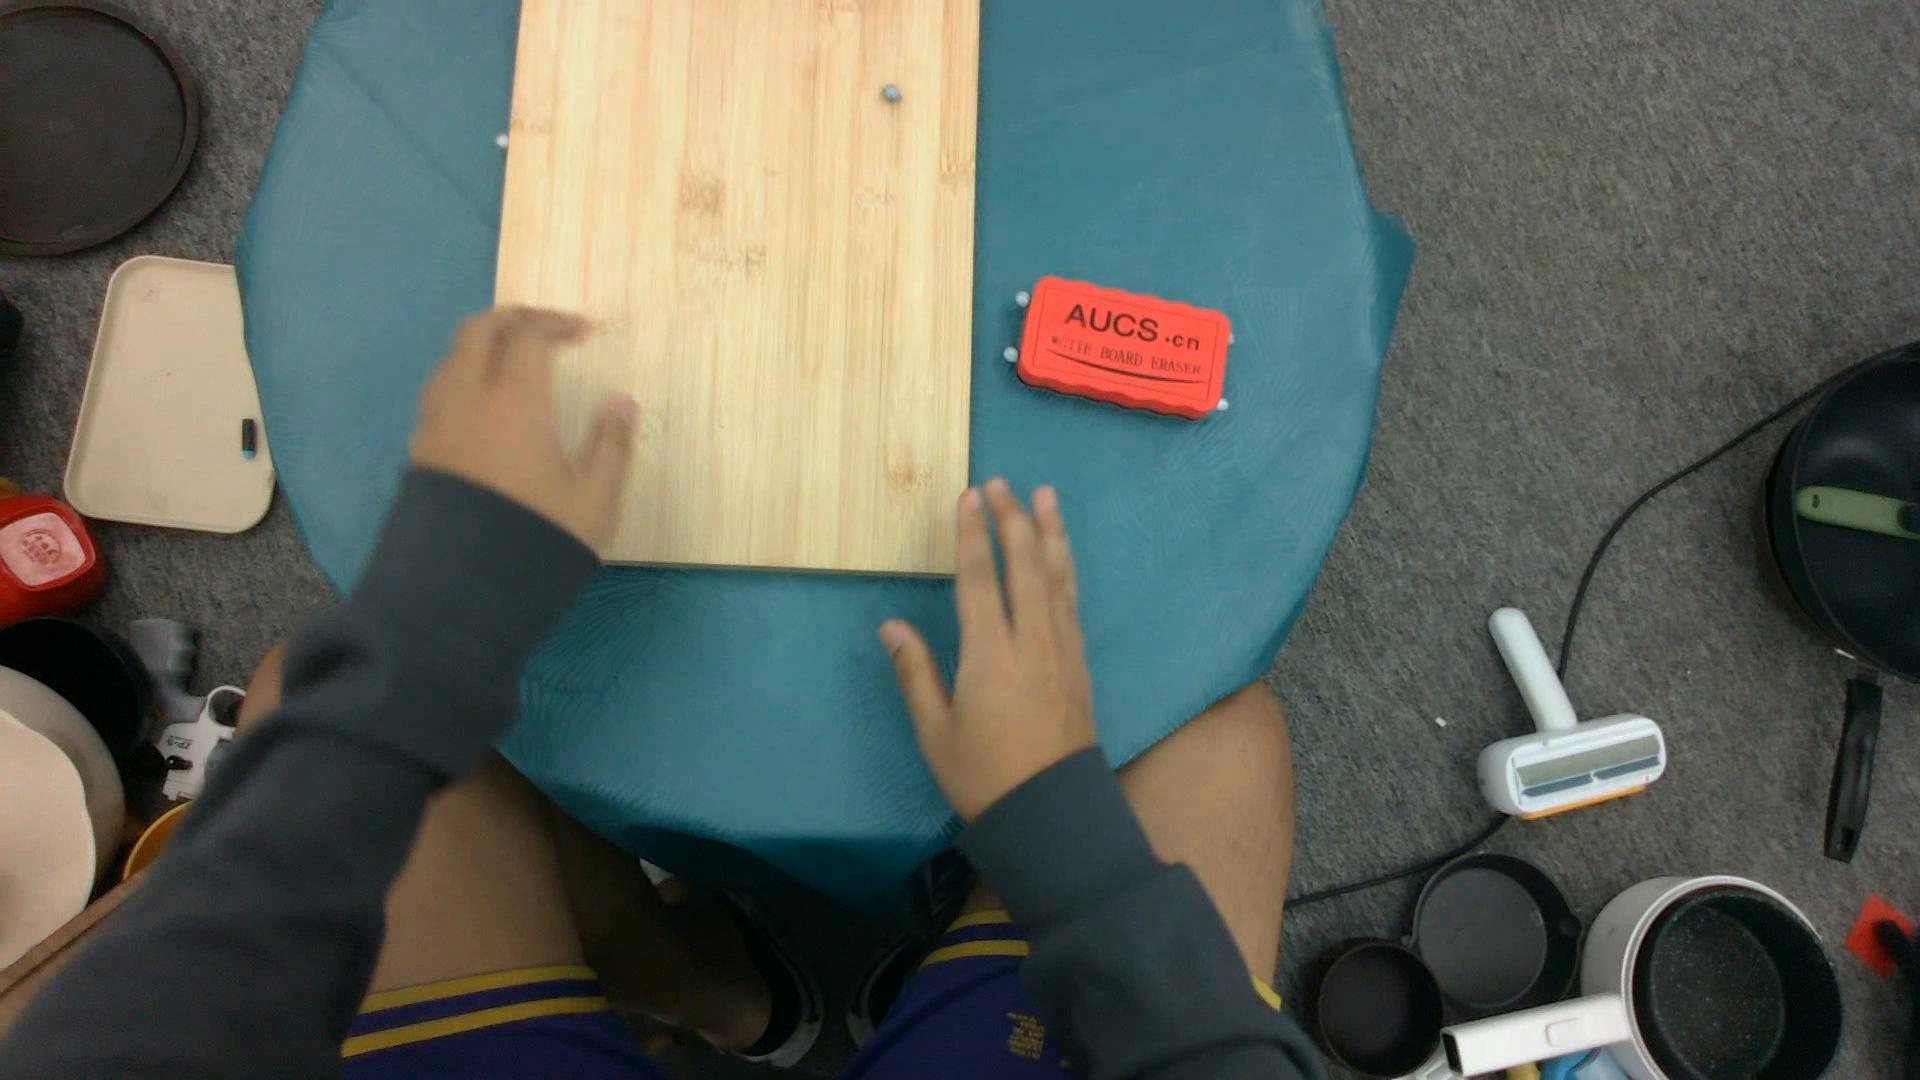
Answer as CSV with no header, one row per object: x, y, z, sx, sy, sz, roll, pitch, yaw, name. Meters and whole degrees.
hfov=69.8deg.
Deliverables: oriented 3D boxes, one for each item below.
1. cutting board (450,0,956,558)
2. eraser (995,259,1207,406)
-0.124,-0.164,0.719,0.251,0.023,0.349,1,79,-8,cutting board
0.075,-0.110,0.733,0.108,0.023,0.059,11,77,-5,eraser
